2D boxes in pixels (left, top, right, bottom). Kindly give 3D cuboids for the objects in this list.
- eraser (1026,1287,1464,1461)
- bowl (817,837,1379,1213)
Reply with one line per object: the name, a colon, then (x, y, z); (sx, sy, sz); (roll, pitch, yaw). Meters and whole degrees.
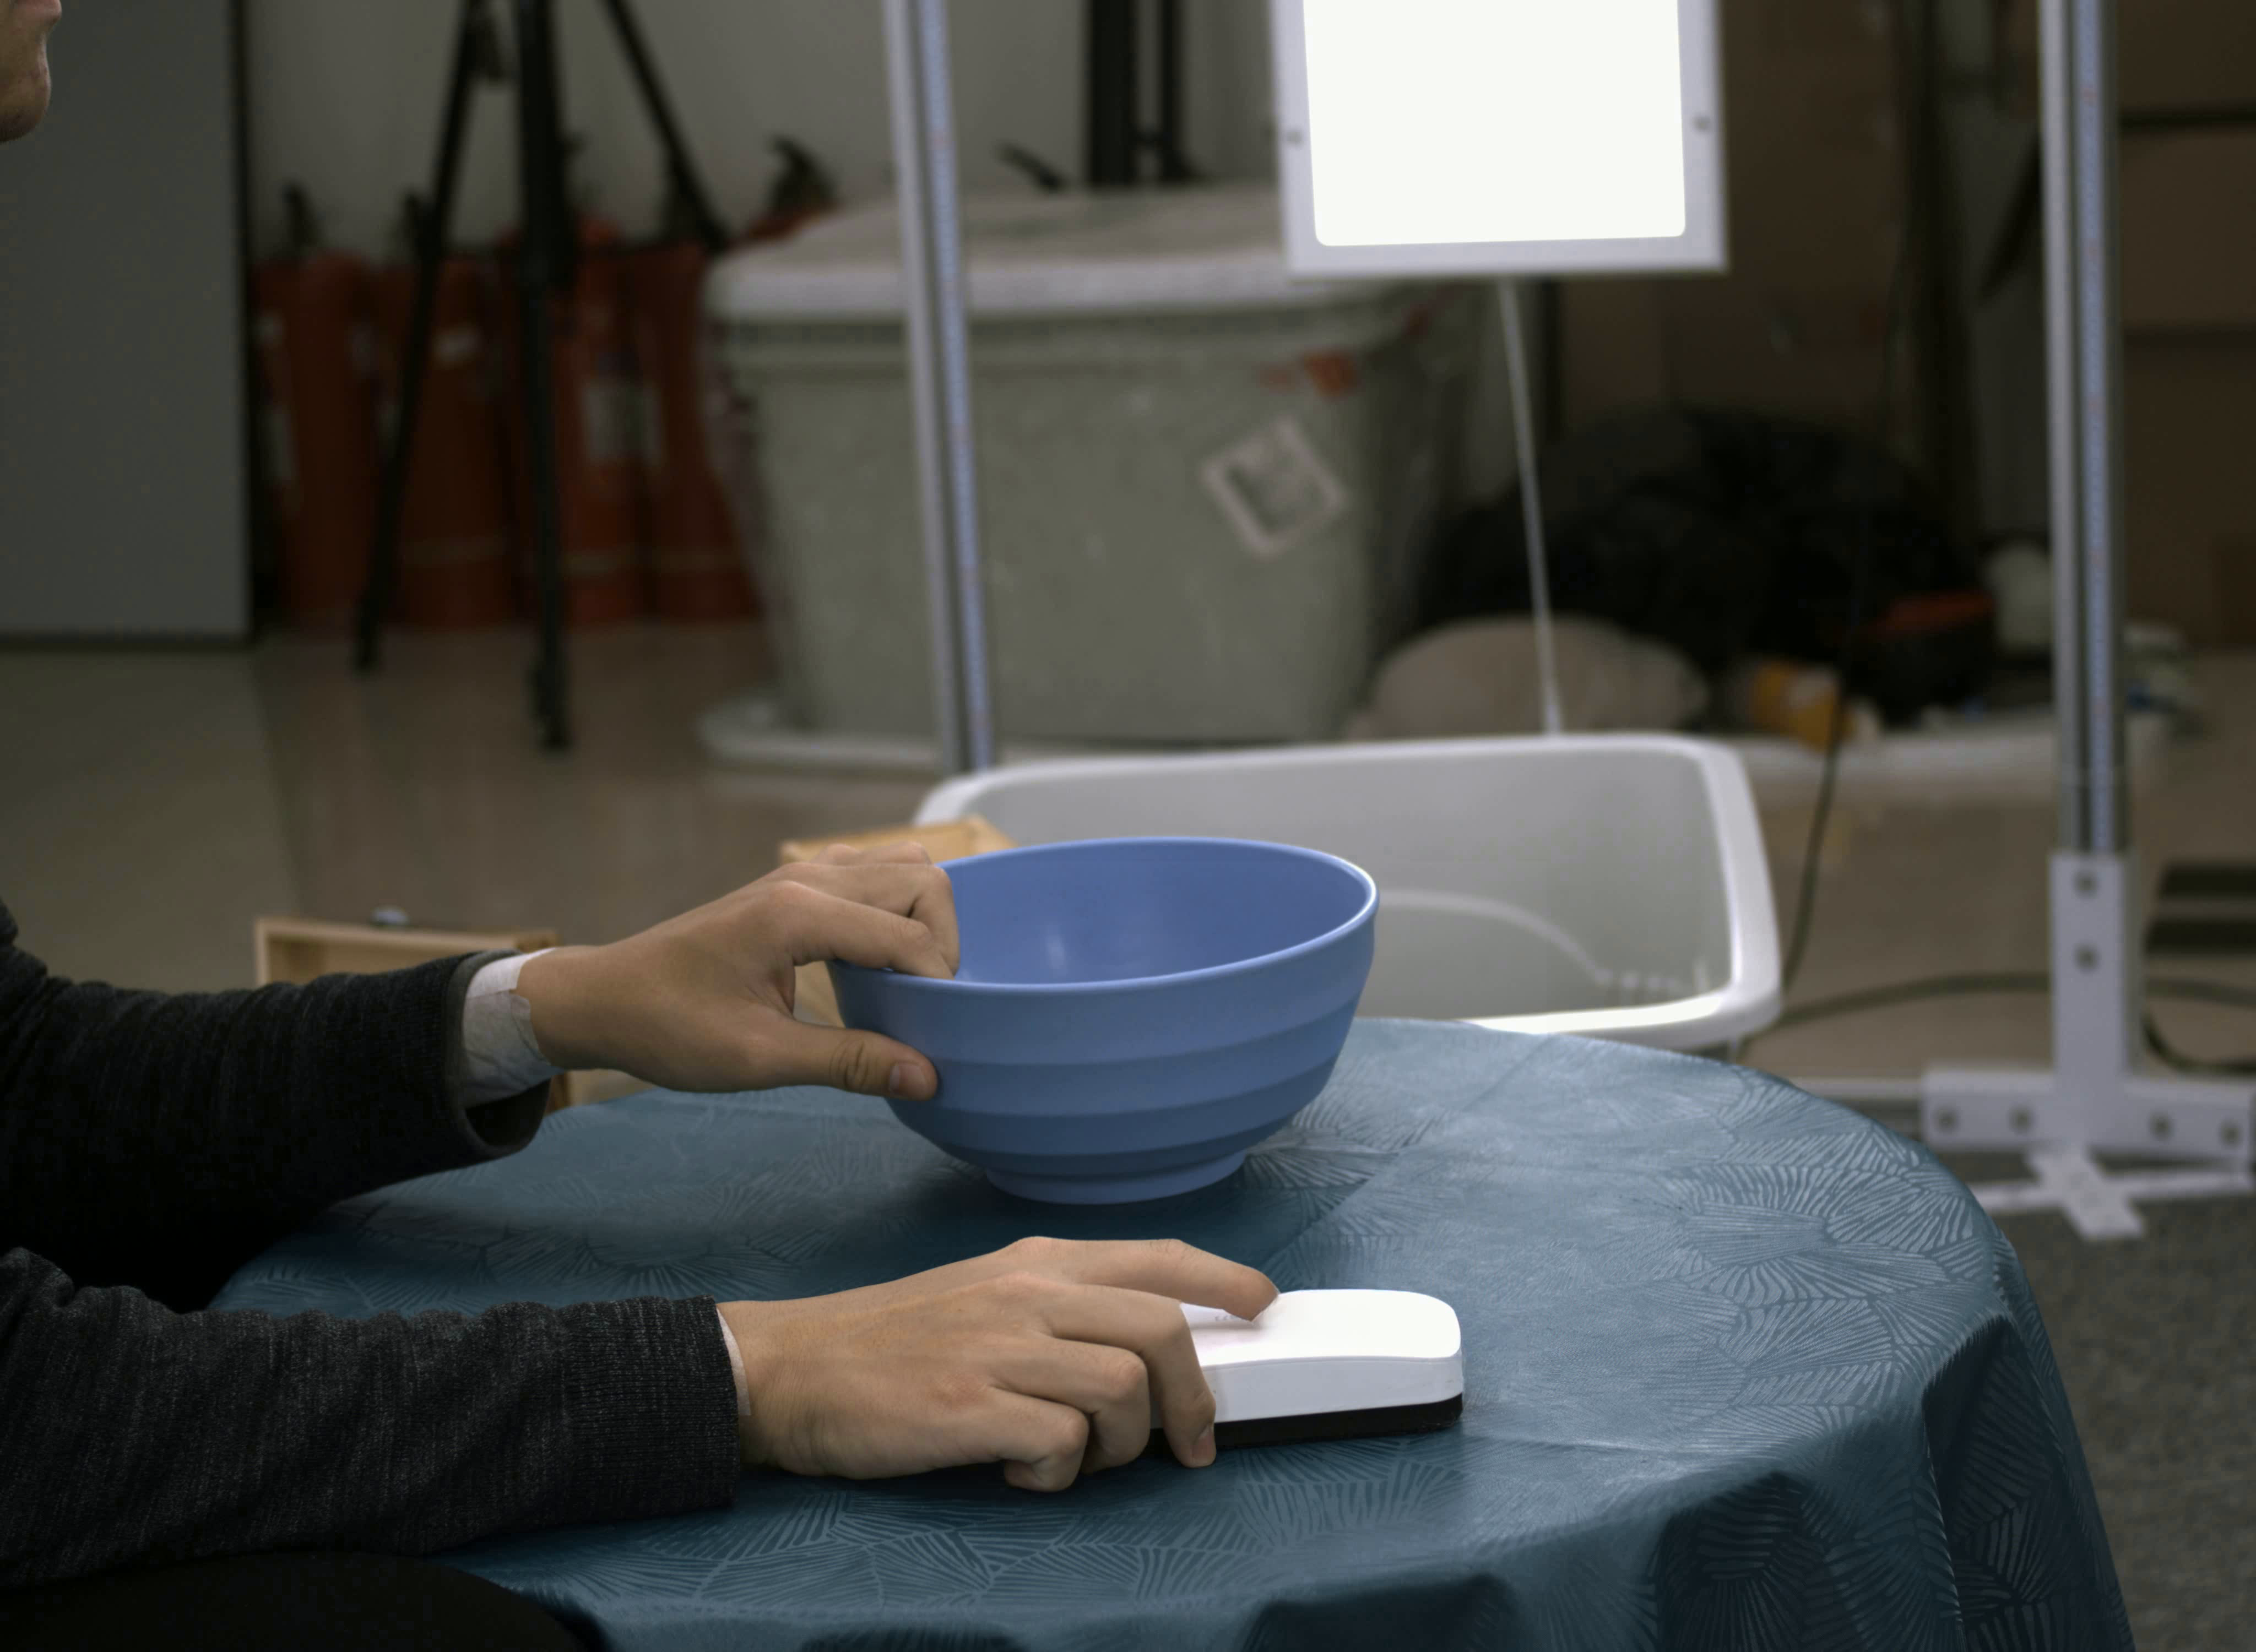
eraser: (0.035, 0.164, 1.666); (0.131, 0.034, 0.063); (-4, 13, 0)
bowl: (-0.007, 0.075, 1.918); (0.196, 0.096, 0.196); (-5, 15, 0)
